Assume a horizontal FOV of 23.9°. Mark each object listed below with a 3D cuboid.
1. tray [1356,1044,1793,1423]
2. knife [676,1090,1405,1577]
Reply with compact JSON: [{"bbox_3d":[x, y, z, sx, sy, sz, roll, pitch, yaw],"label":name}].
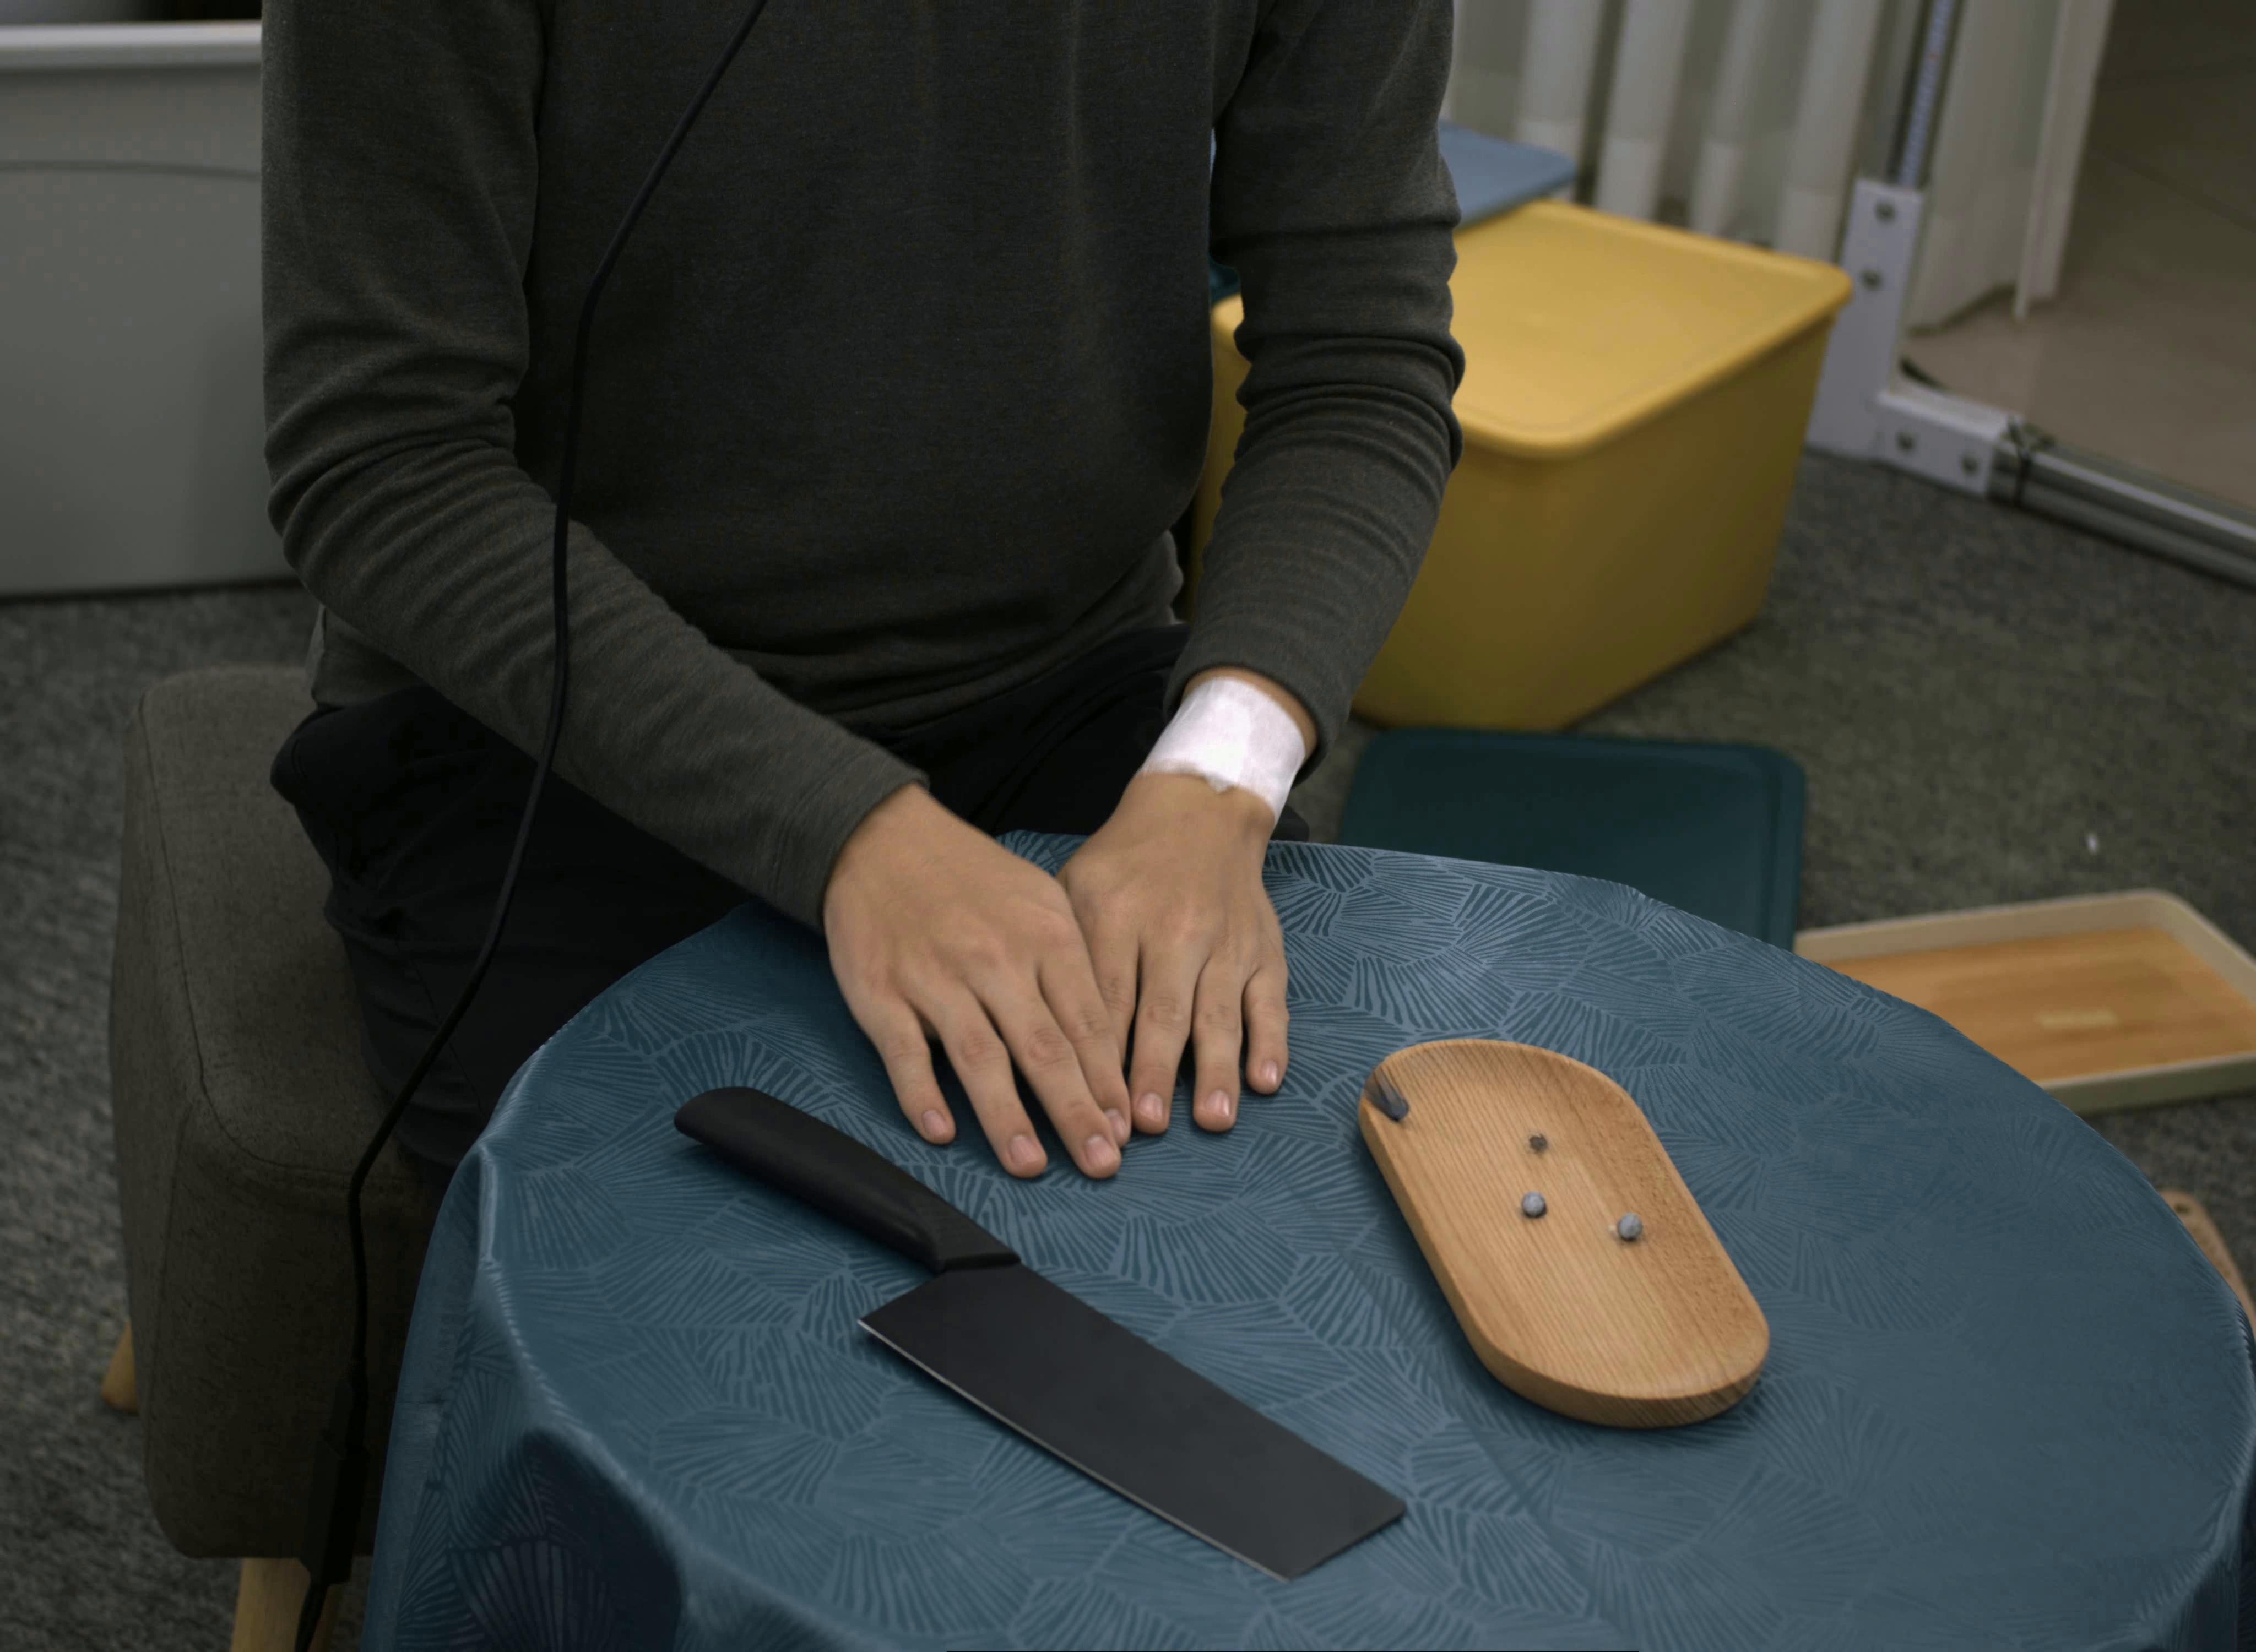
[{"bbox_3d":[0.148,0.135,1.795,0.101,0.020,0.233,-4,29,-16],"label":"tray"},{"bbox_3d":[-0.040,0.160,1.711,0.080,0.021,0.305,-20,38,-39],"label":"knife"}]
